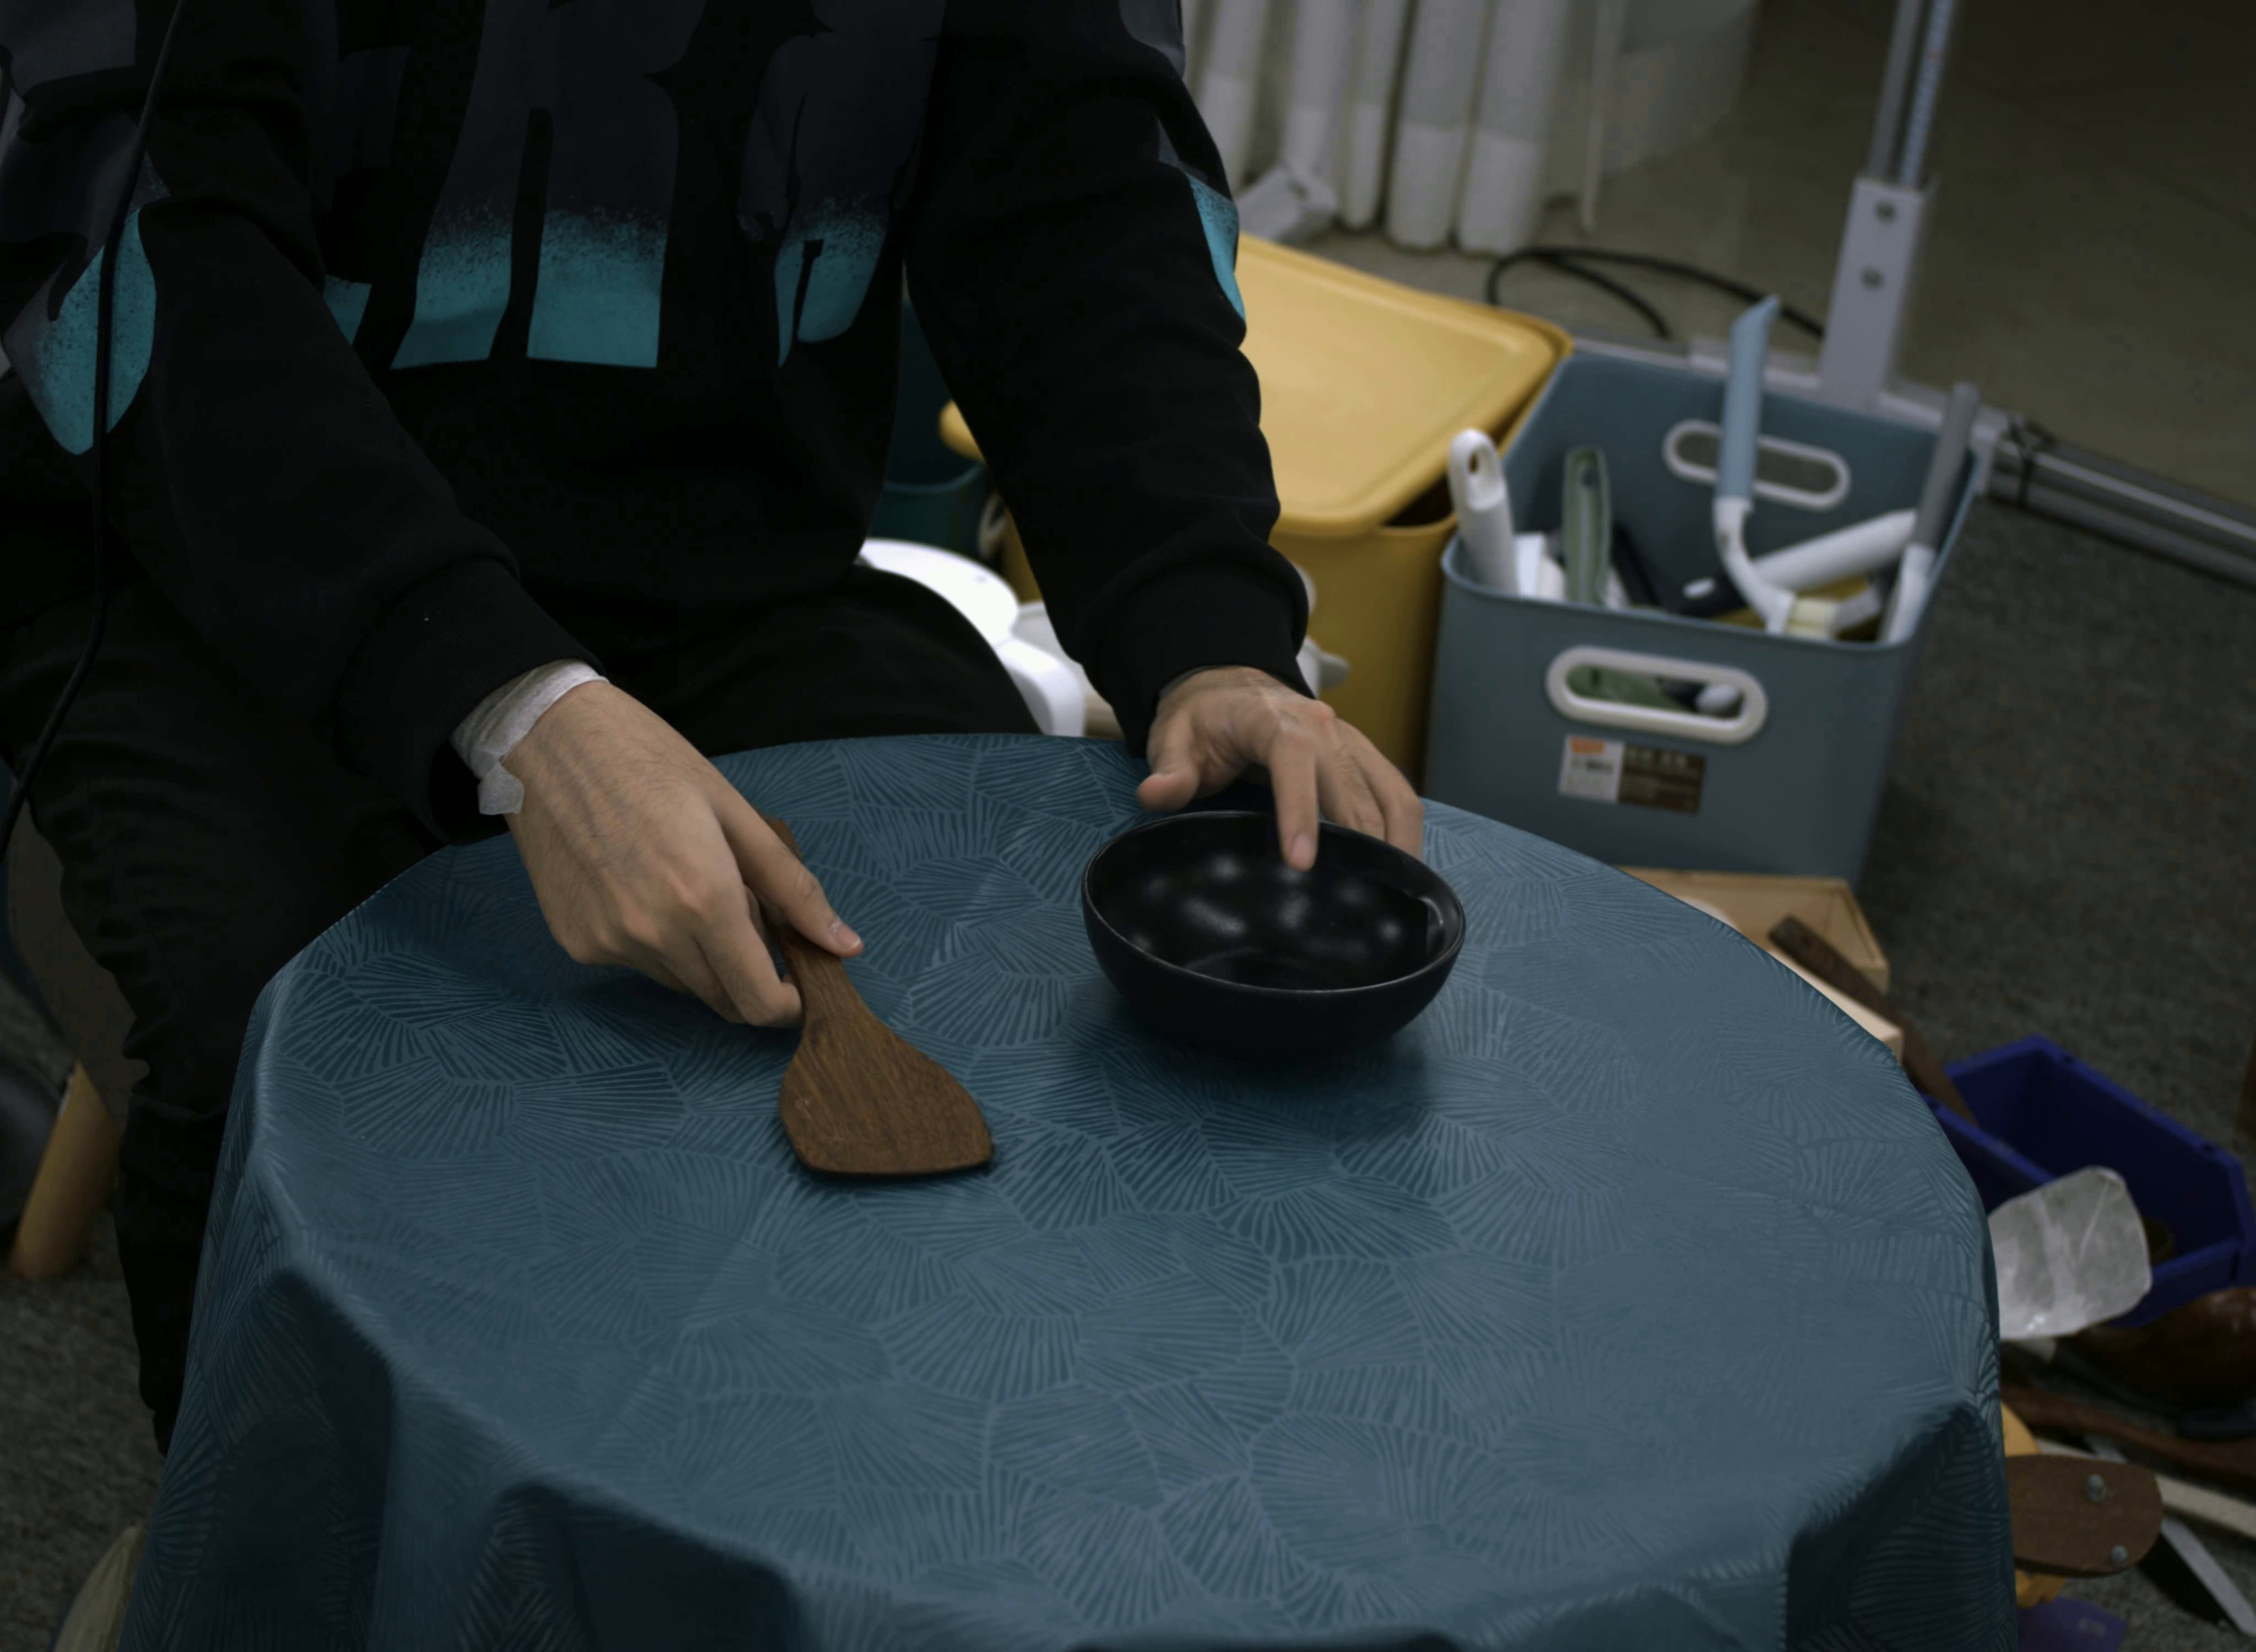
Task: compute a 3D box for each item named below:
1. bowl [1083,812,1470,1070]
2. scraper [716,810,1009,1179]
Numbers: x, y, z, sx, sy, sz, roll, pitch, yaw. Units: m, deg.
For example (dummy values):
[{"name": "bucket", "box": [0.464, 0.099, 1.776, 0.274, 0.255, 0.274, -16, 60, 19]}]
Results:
[{"name": "bowl", "box": [0.052, 0.049, 1.908, 0.139, 0.049, 0.141, 3, 28, -2]}, {"name": "scraper", "box": [-0.106, 0.058, 1.869, 0.075, 0.011, 0.213, -1, 37, -22]}]
